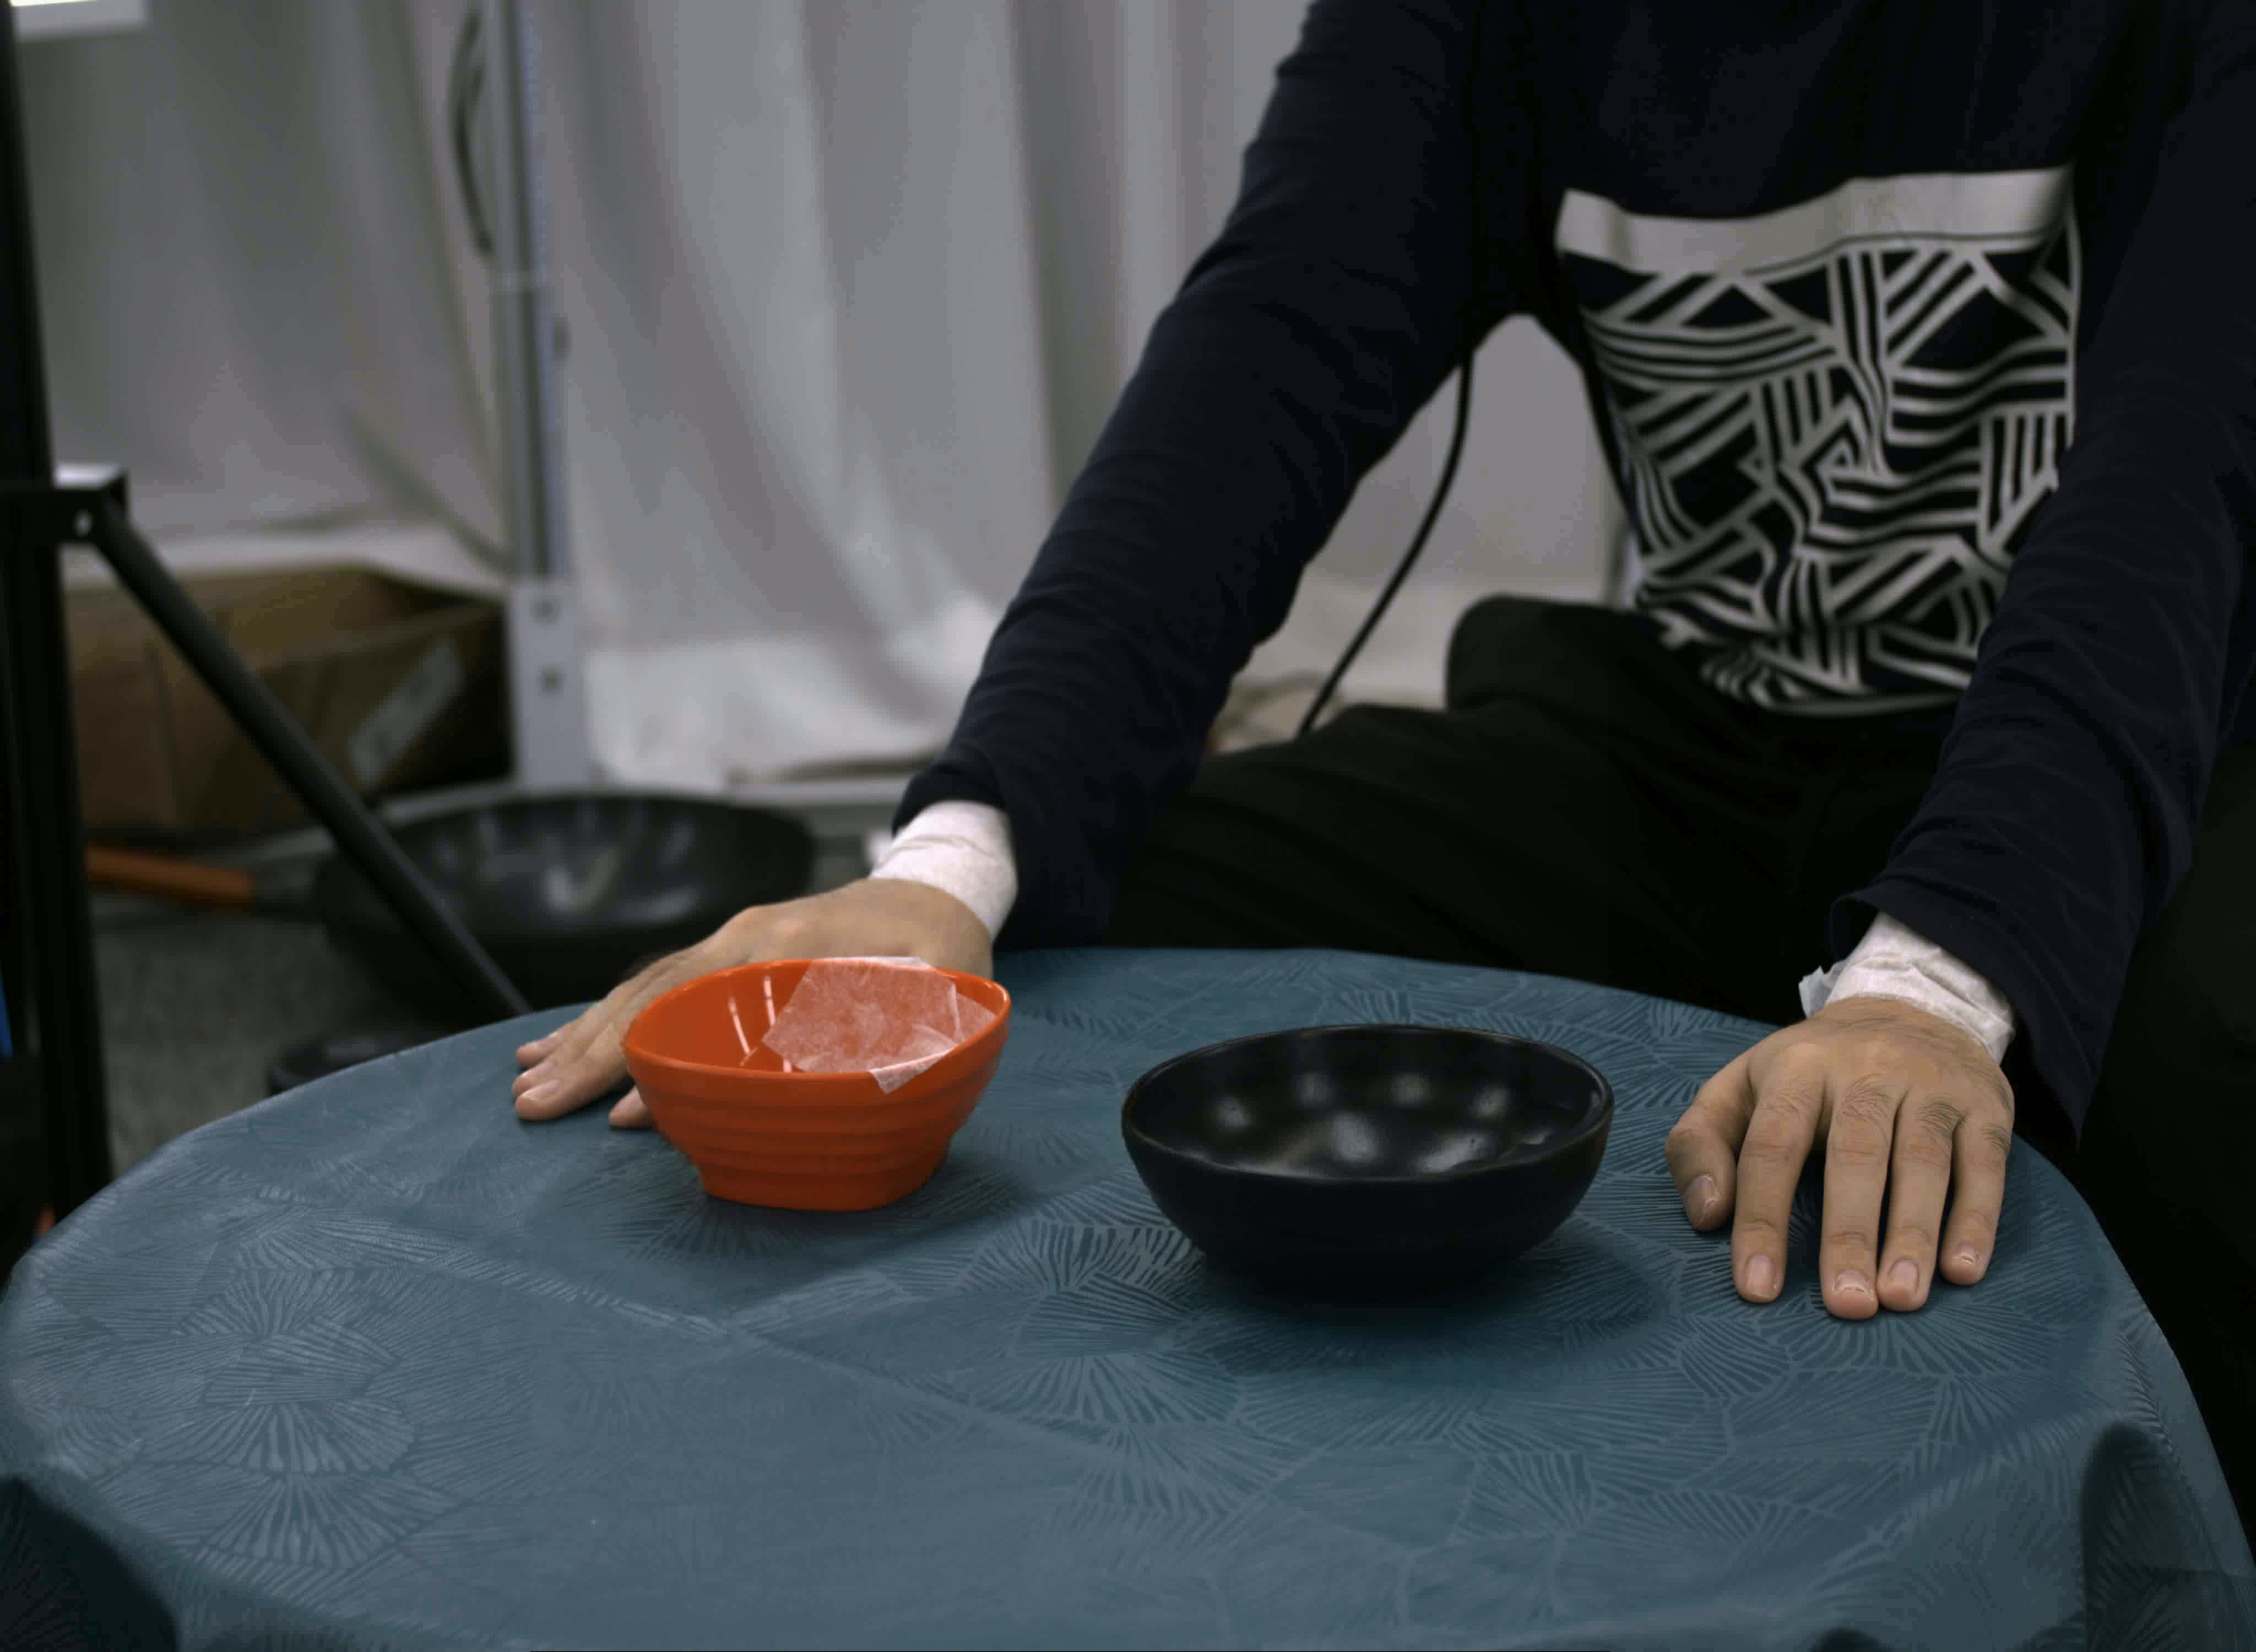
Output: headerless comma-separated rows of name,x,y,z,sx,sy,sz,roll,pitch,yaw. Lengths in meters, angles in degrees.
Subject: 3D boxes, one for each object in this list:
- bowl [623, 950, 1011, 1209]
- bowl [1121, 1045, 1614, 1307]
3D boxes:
bowl,-0.090,0.078,1.585,0.118,0.051,0.119,-4,17,0
bowl,0.067,0.102,1.492,0.139,0.050,0.140,-1,12,-1
